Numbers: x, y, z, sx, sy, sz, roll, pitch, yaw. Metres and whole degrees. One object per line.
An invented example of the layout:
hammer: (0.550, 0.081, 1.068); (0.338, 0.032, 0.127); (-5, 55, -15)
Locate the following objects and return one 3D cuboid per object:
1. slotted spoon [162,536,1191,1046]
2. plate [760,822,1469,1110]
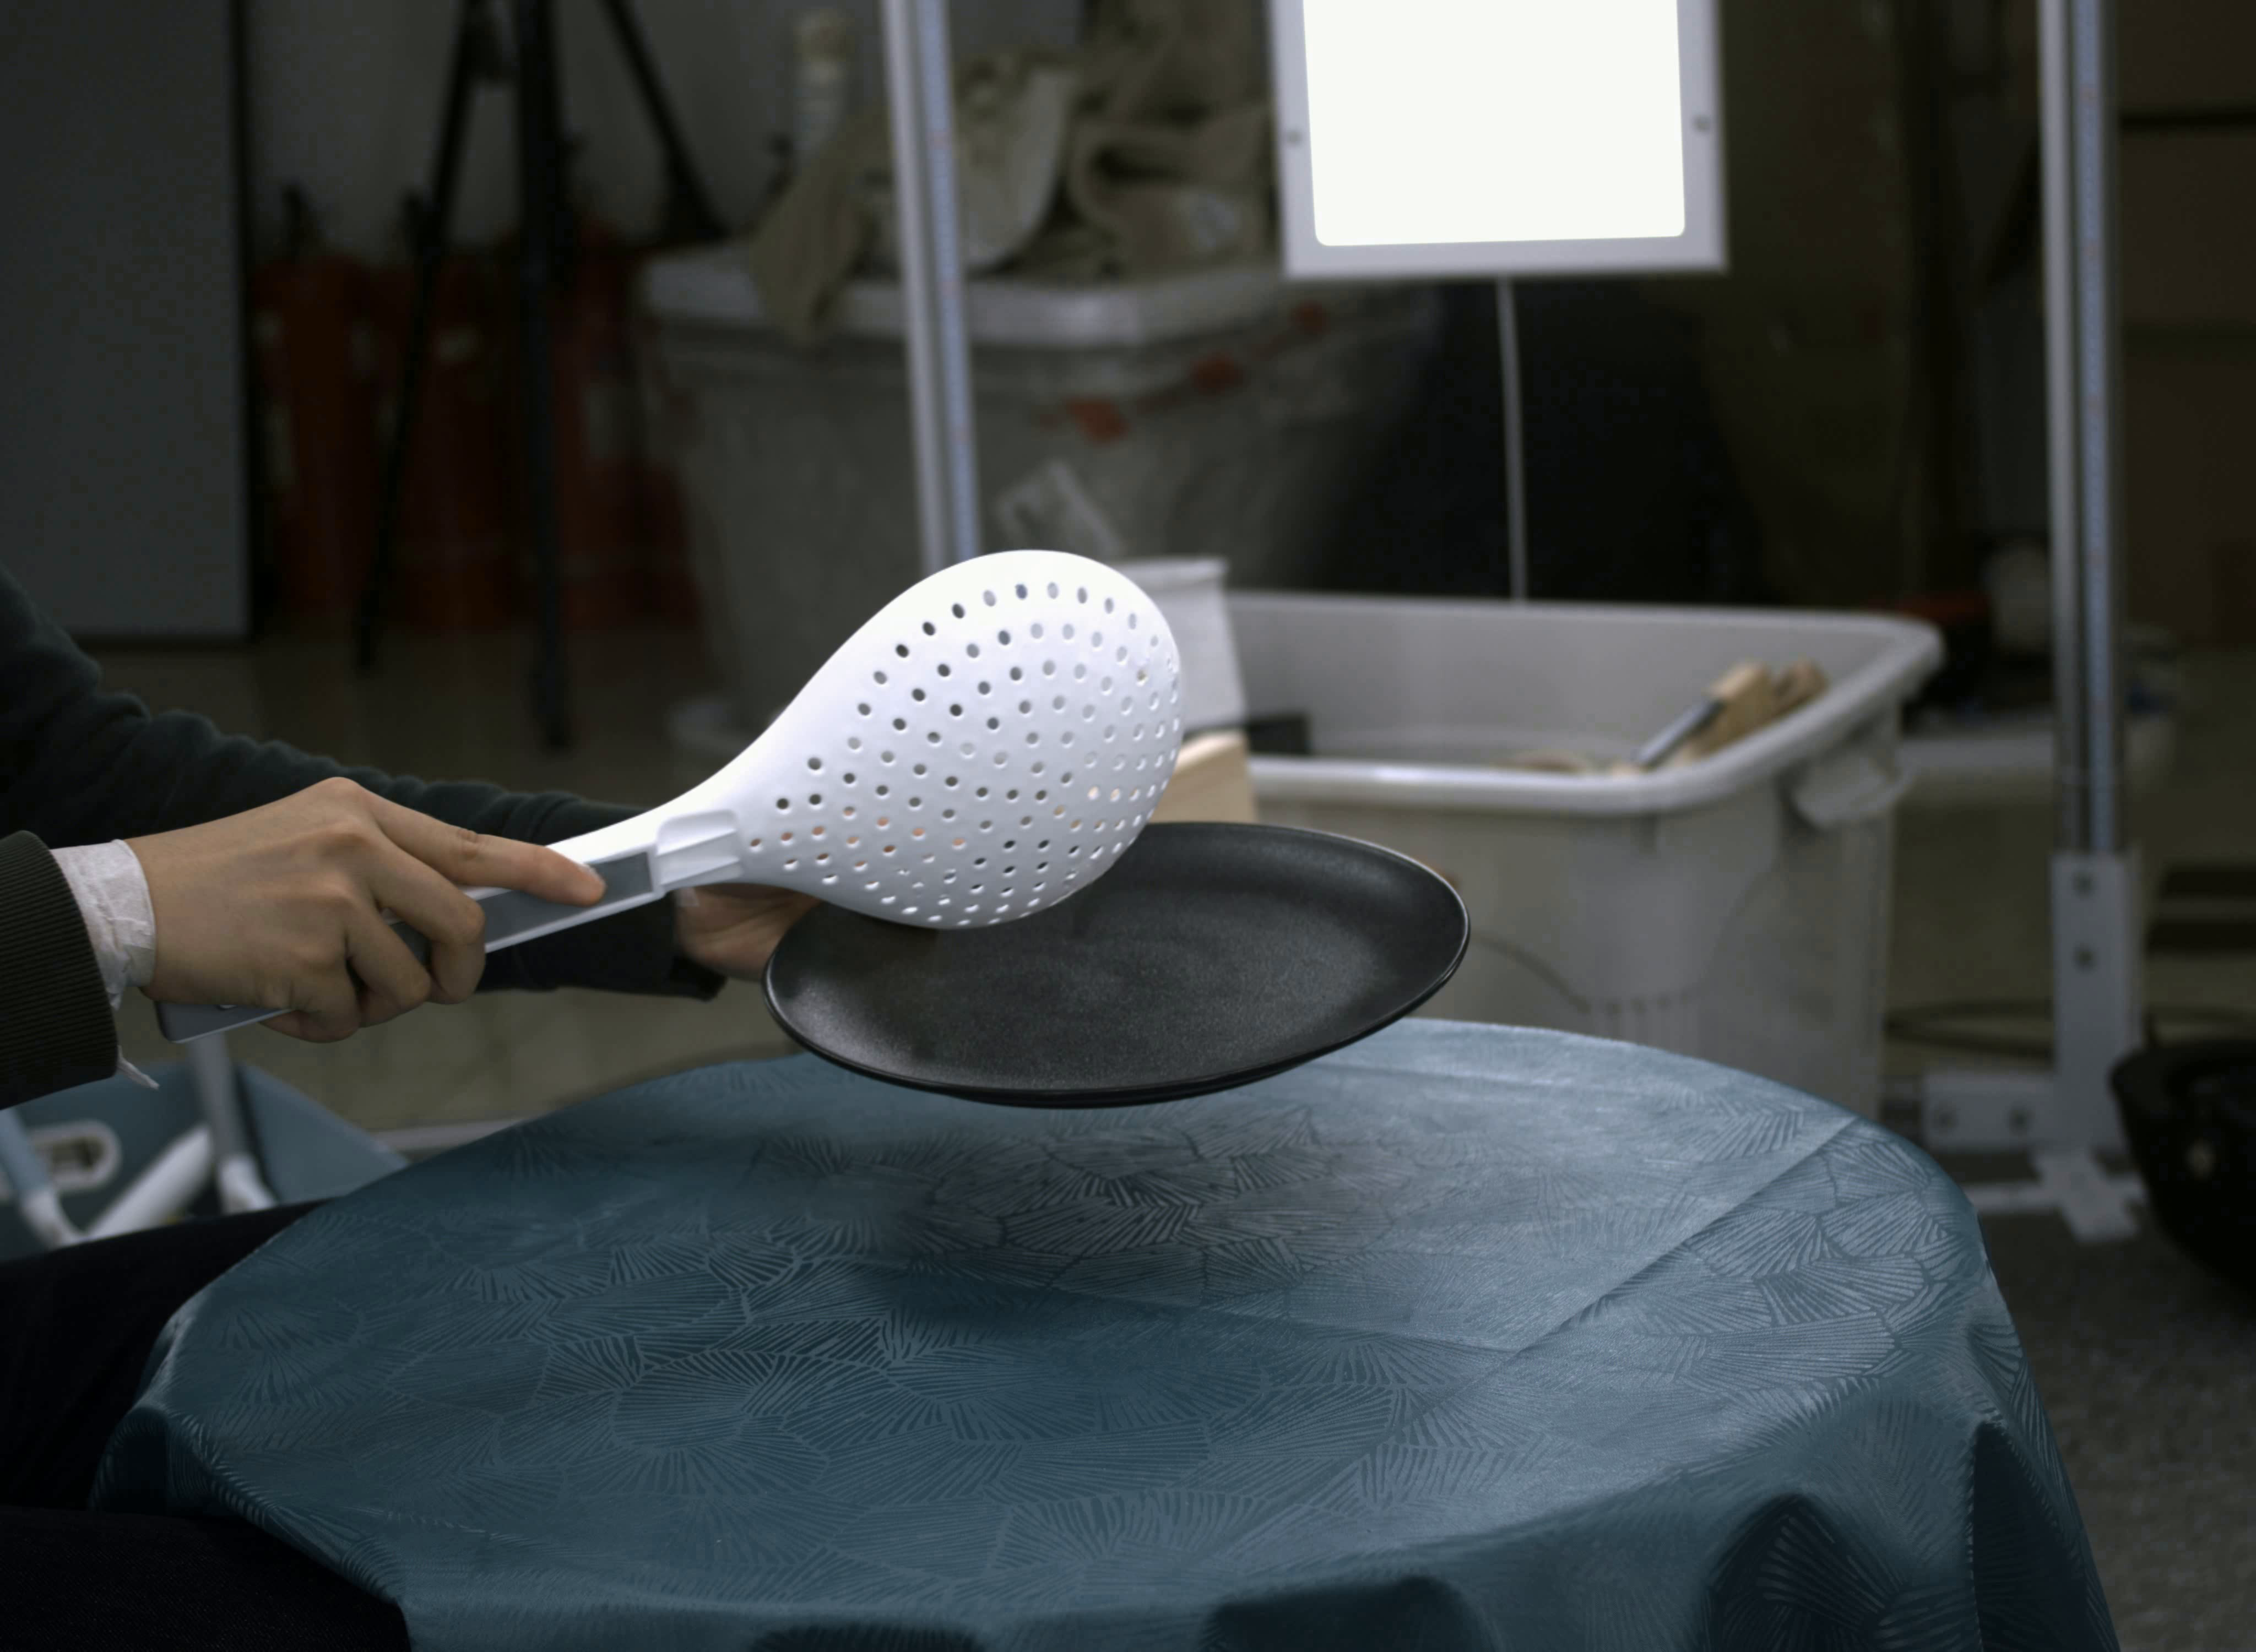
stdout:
slotted spoon: (-0.136, 0.004, 1.742); (0.345, 0.136, 0.046); (-15, 31, -11)
plate: (-0.004, 0.051, 1.878); (0.244, 0.023, 0.244); (-6, 20, 1)
